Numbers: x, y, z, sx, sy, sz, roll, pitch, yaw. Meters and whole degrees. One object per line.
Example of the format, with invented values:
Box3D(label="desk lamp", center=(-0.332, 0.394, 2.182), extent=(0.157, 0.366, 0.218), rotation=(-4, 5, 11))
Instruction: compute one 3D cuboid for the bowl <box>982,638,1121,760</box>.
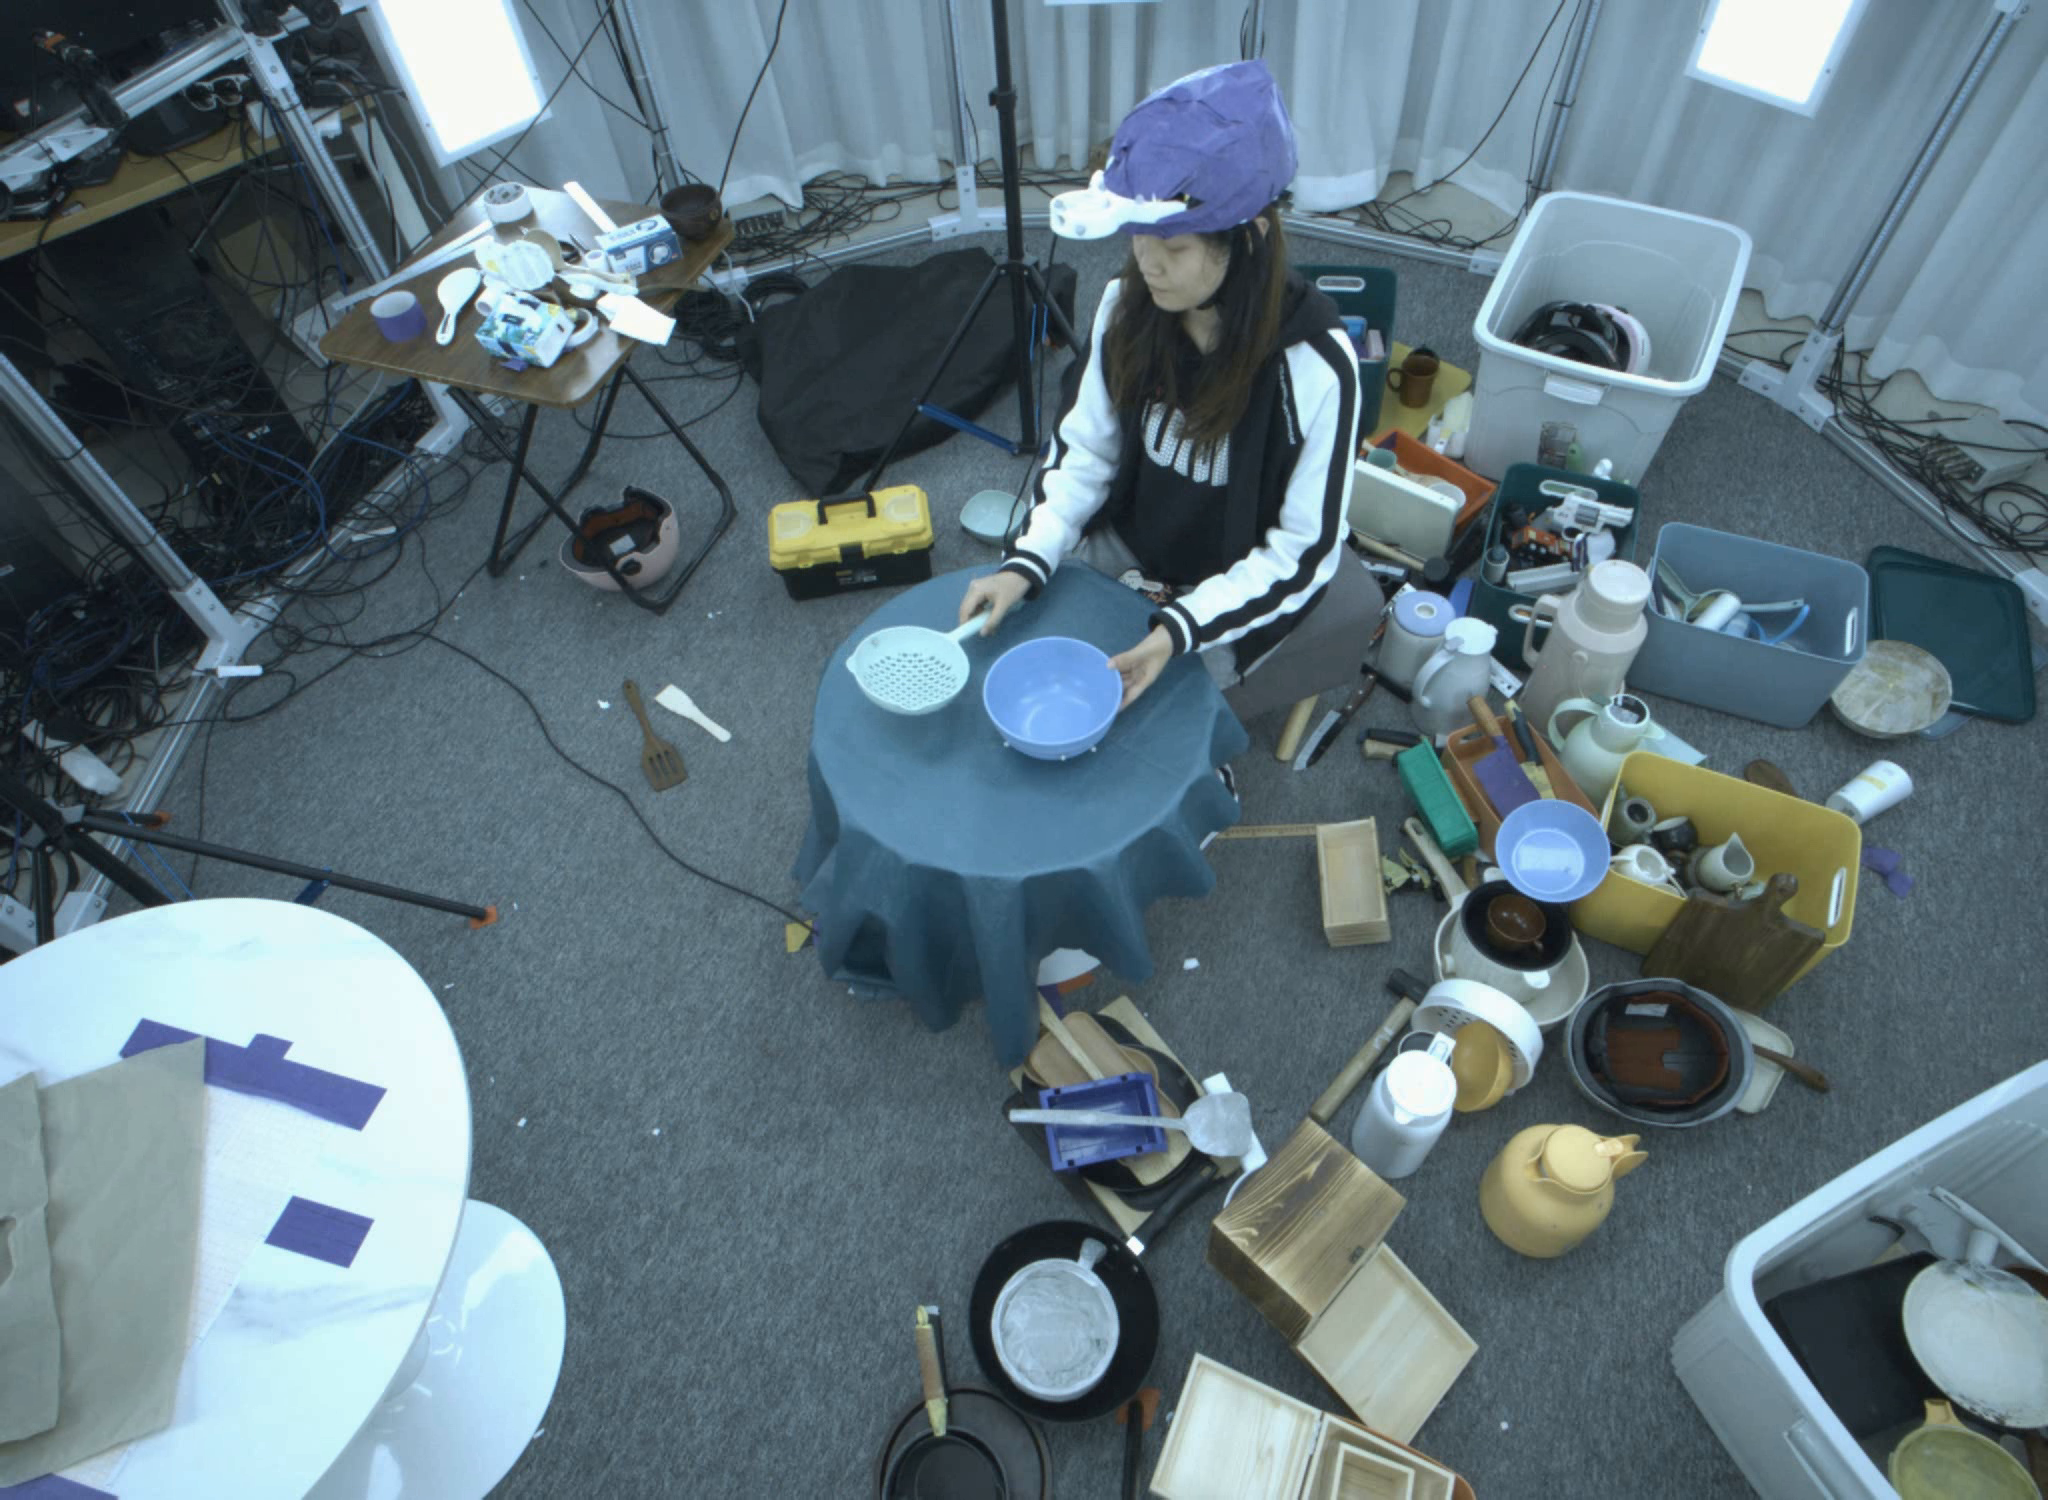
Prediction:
Box3D(label="bowl", center=(0.042, -0.058, 1.770), extent=(0.196, 0.096, 0.194), rotation=(-1, 54, 2))

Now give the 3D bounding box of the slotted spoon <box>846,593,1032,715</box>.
Box3D(label="slotted spoon", center=(-0.105, -0.163, 1.843), extent=(0.167, 0.076, 0.361), rotation=(36, 57, 19))
